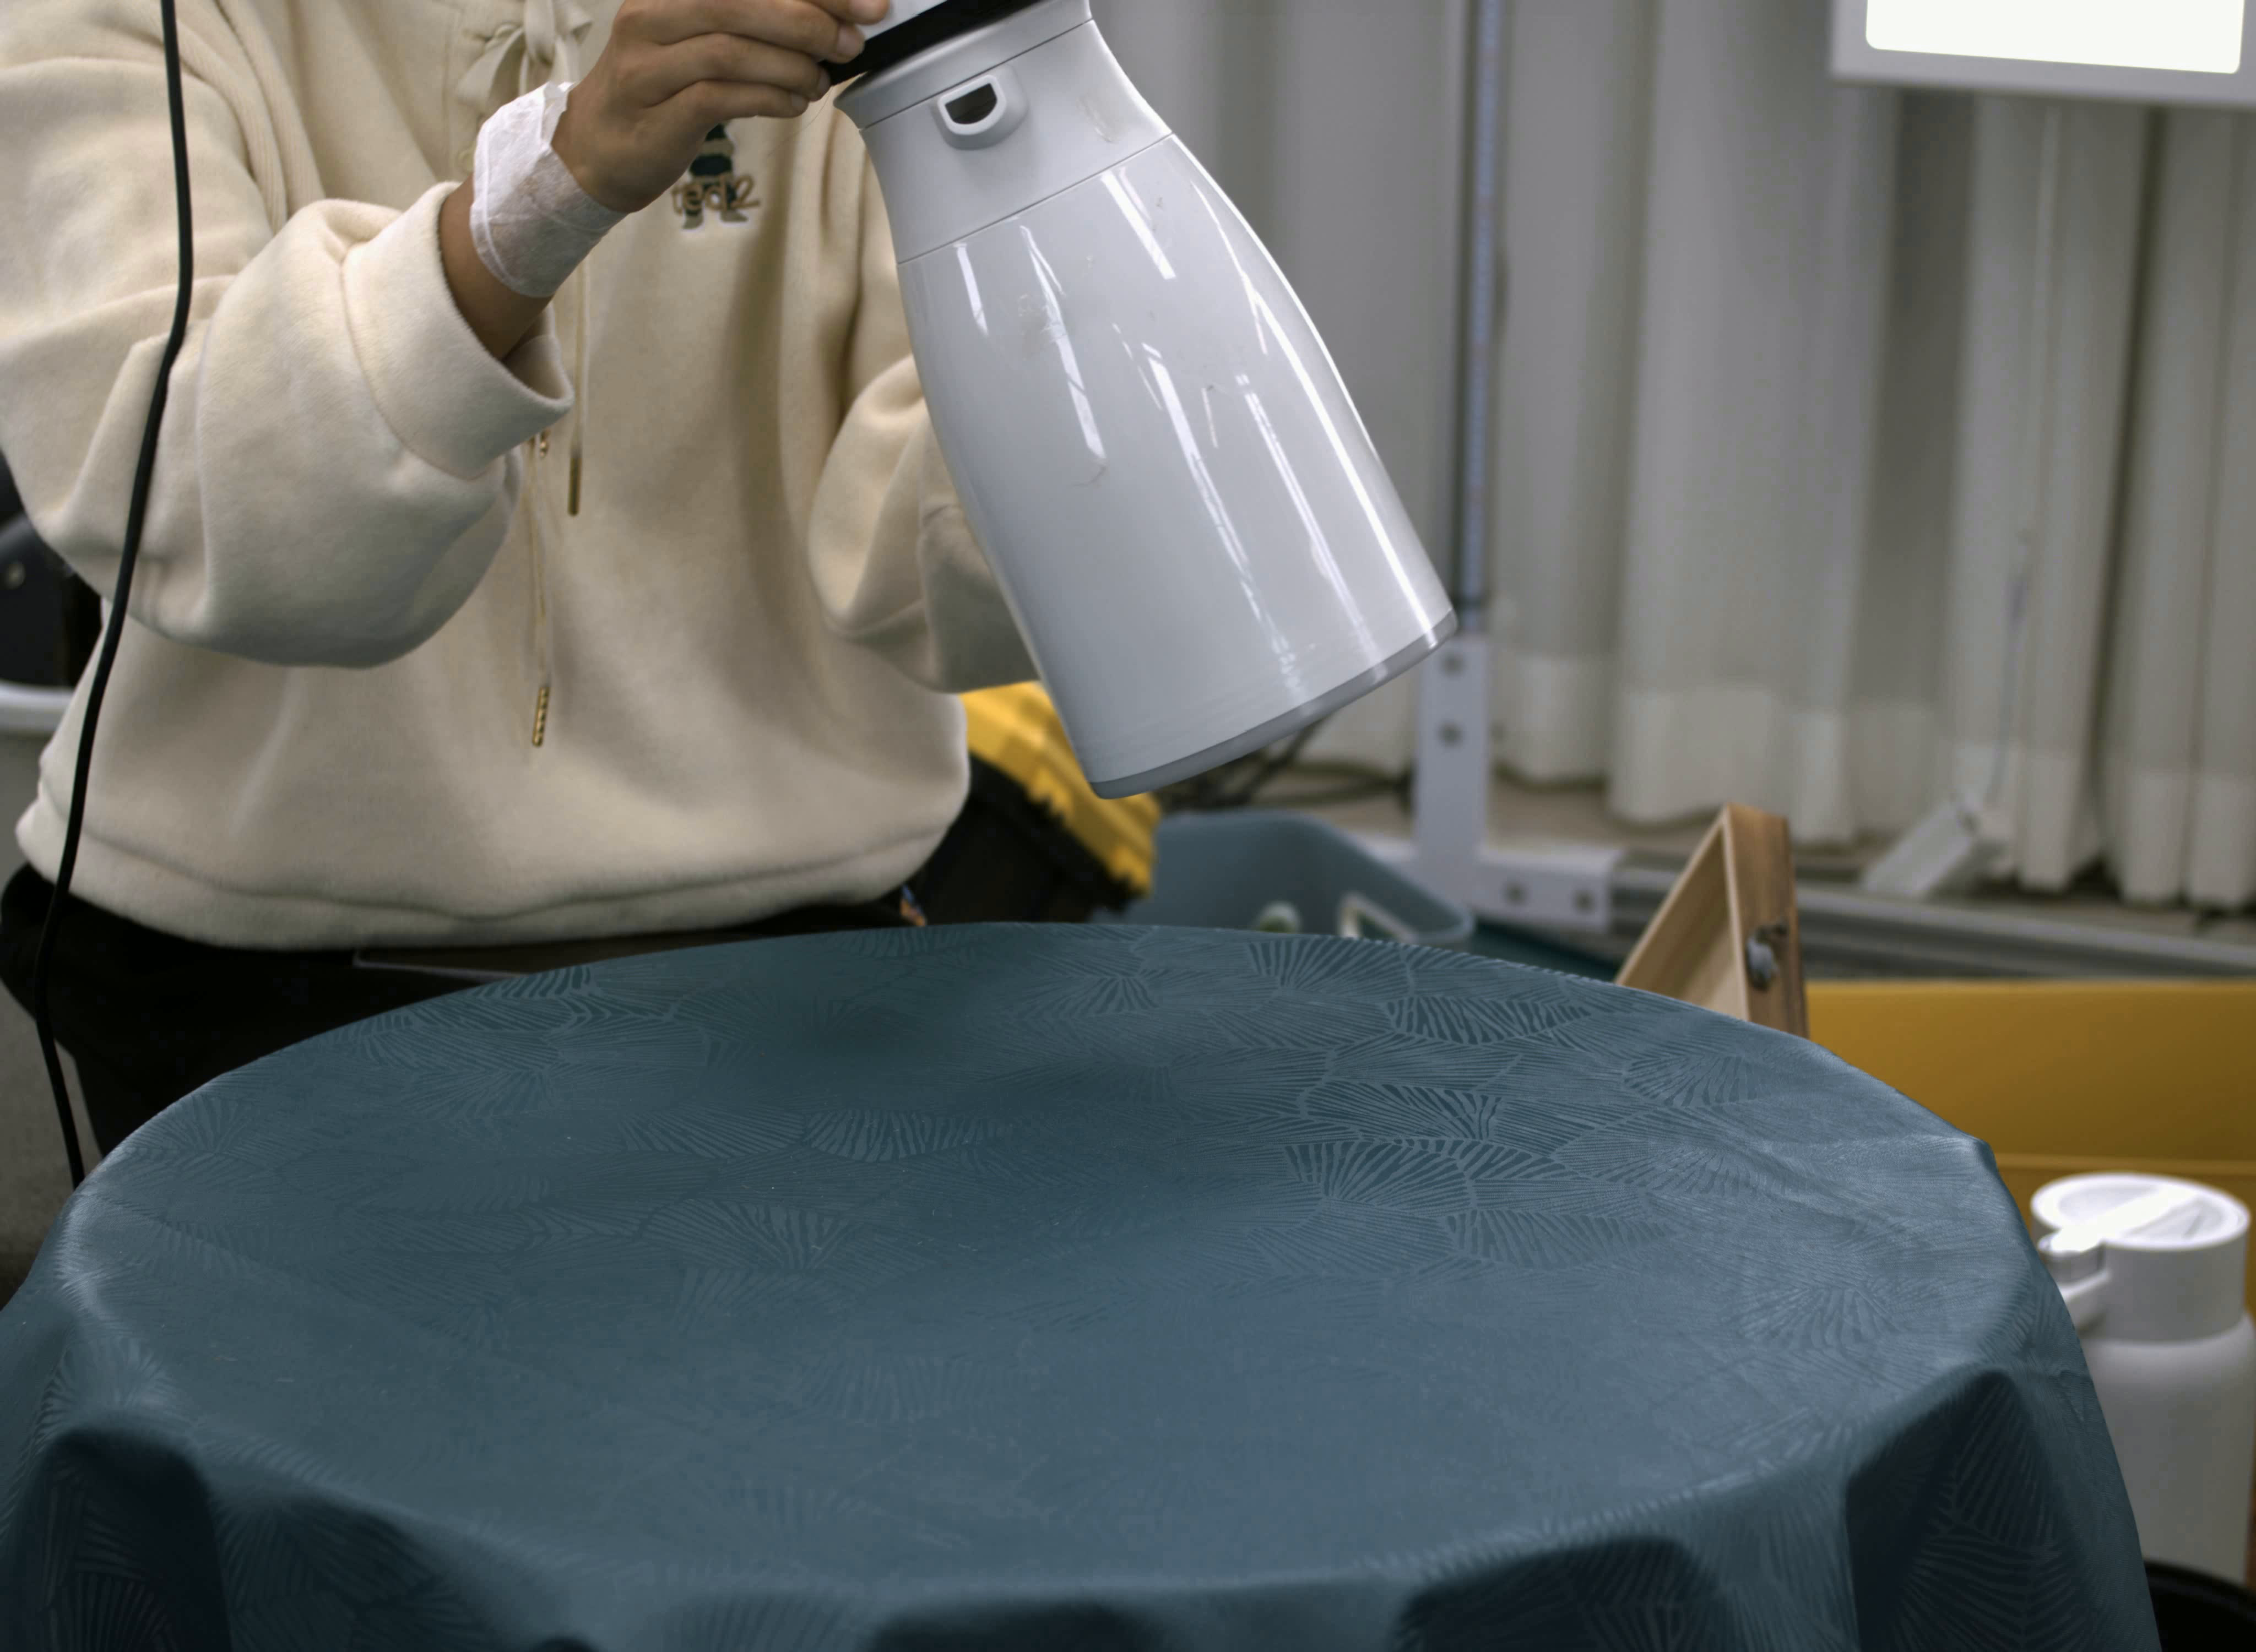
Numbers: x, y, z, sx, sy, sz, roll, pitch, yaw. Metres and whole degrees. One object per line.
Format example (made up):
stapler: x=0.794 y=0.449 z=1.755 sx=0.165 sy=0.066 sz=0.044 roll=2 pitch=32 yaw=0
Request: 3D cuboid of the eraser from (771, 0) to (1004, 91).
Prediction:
eraser: x=-0.049 y=-0.275 z=1.658 sx=0.130 sy=0.035 sz=0.063 roll=-22 pitch=14 yaw=23

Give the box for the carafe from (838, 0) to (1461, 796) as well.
carafe: x=-0.003 y=-0.152 z=1.720 sx=0.132 sy=0.250 sz=0.167 roll=-25 pitch=8 yaw=4
